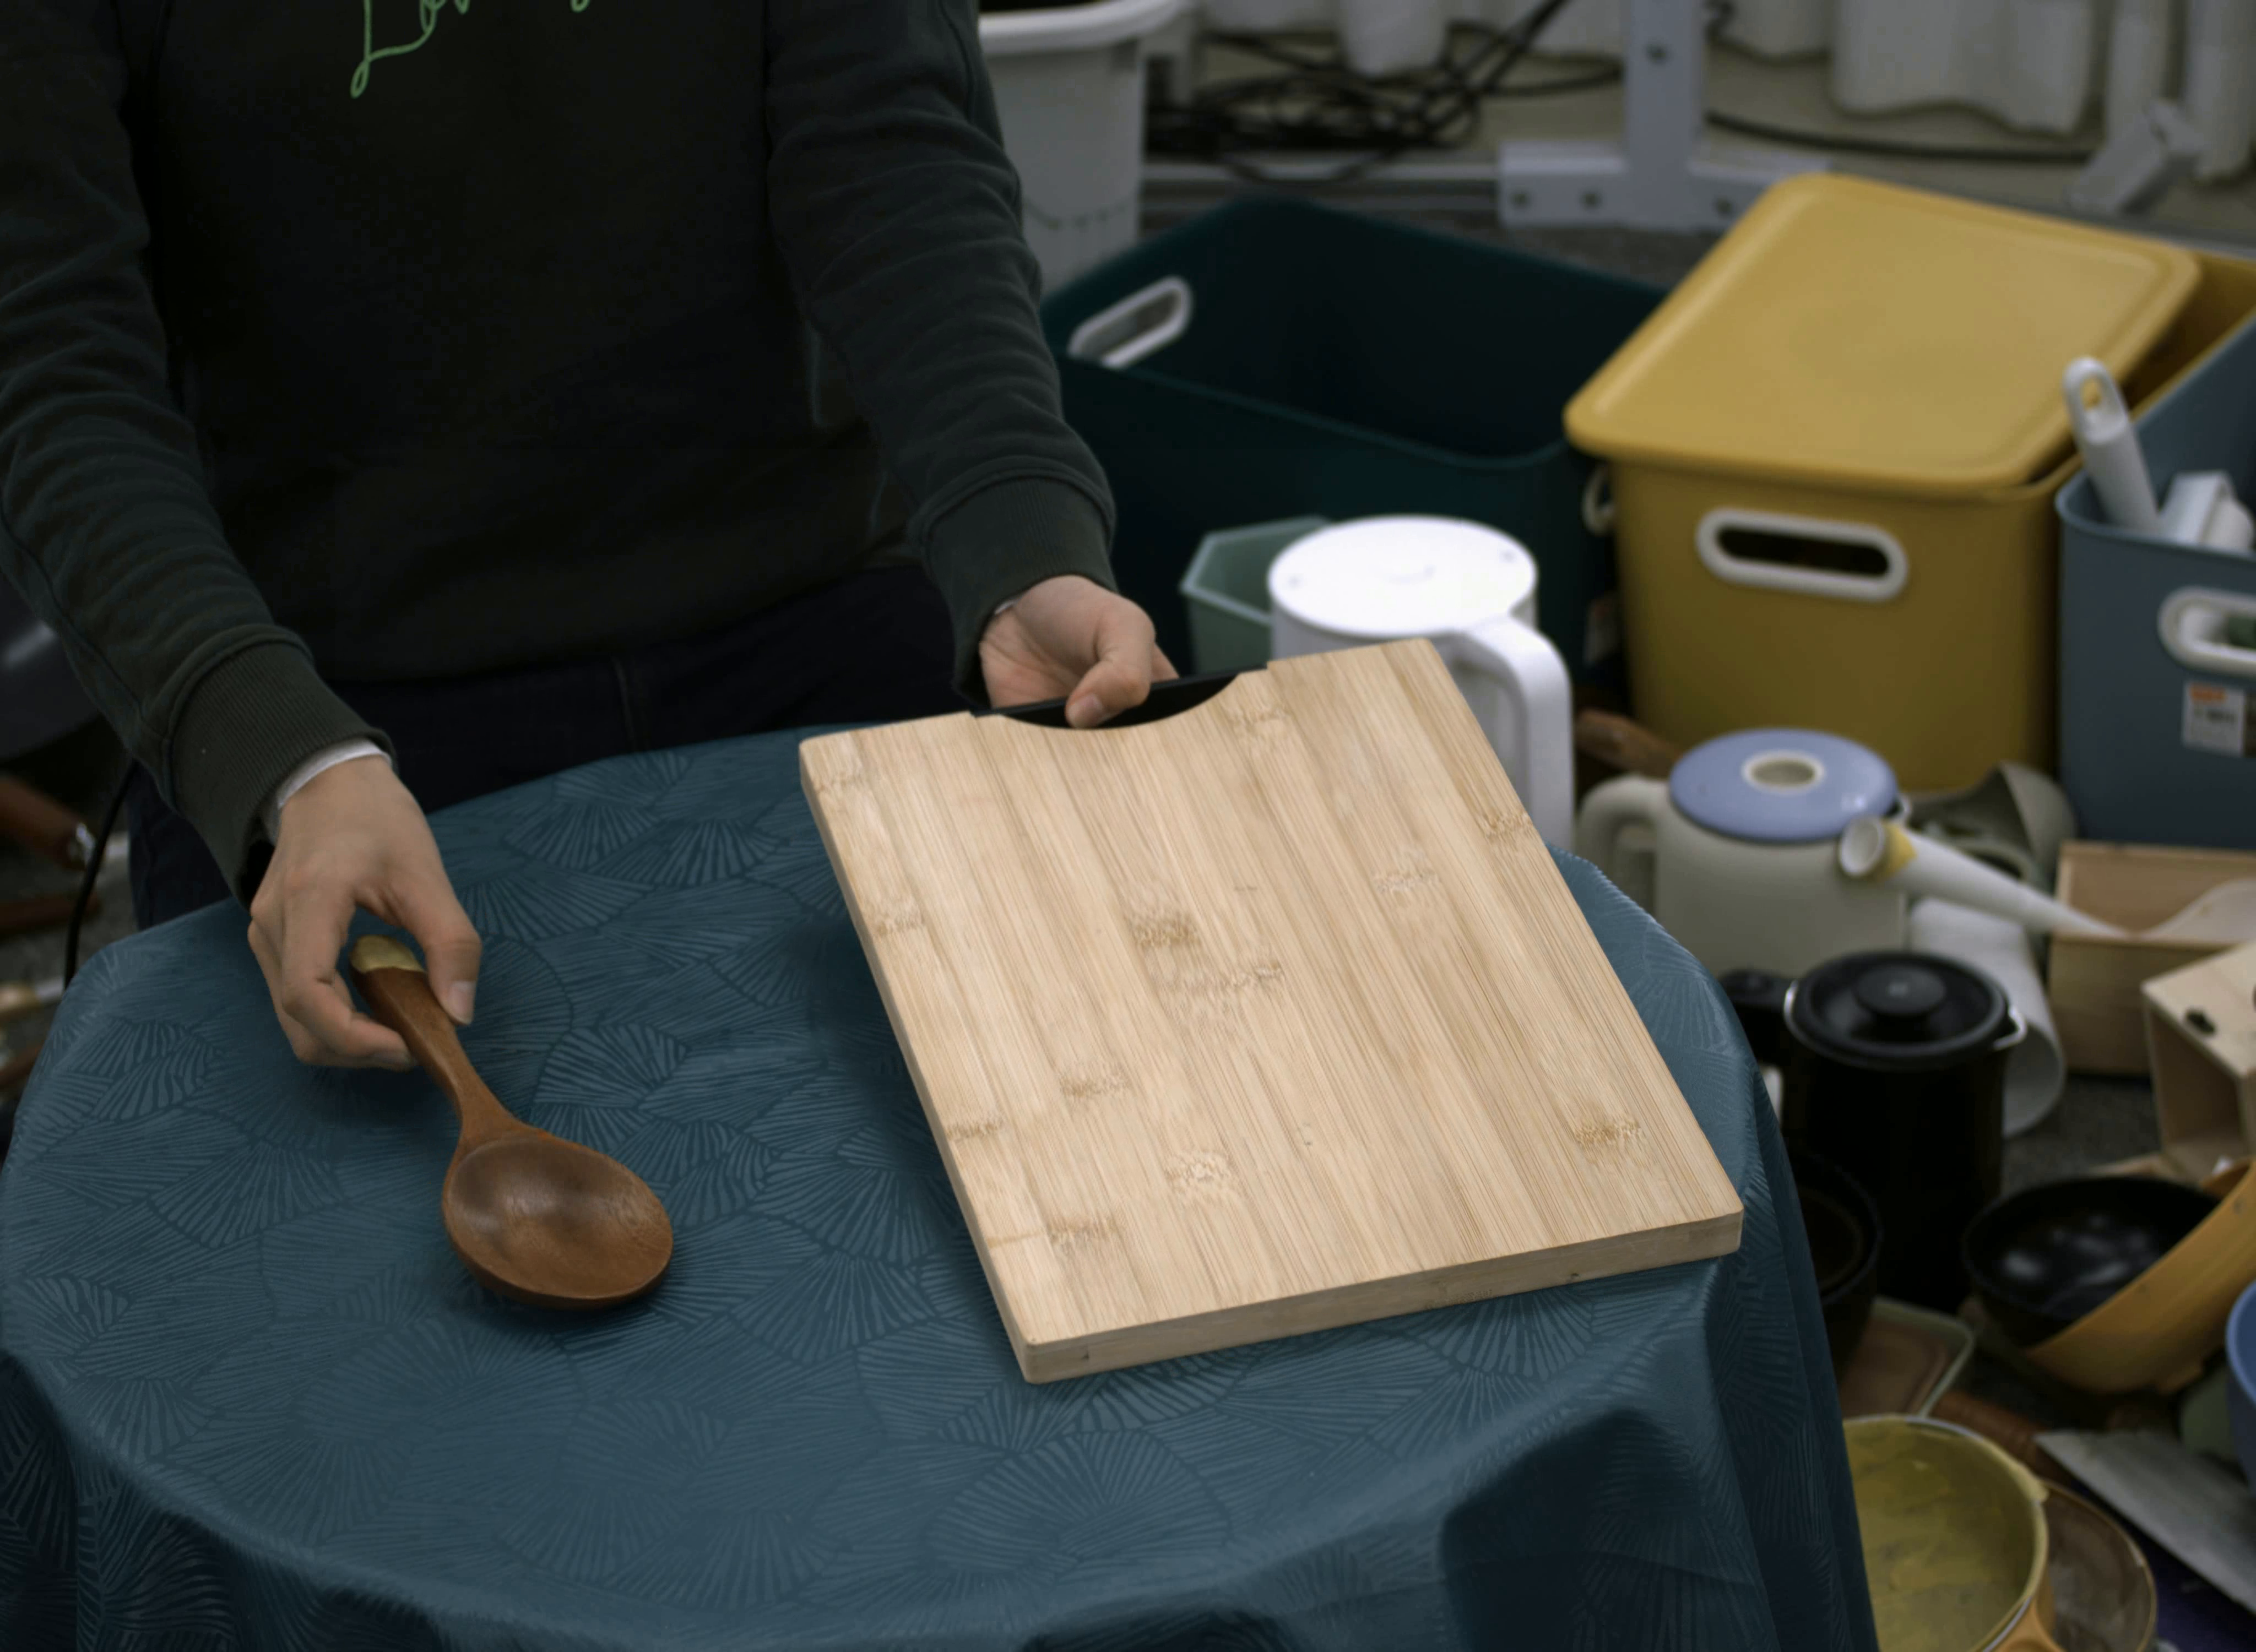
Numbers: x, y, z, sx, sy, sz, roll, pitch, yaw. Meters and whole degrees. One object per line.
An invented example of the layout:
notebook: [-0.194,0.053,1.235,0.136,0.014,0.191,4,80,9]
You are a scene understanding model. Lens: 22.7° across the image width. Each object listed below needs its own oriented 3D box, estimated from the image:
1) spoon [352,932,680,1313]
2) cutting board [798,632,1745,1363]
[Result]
spoon: [-0.213,0.100,1.877,0.076,0.017,0.218,-10,37,-25]
cutting board: [0.039,0.051,1.921,0.251,0.023,0.353,-9,36,-13]
